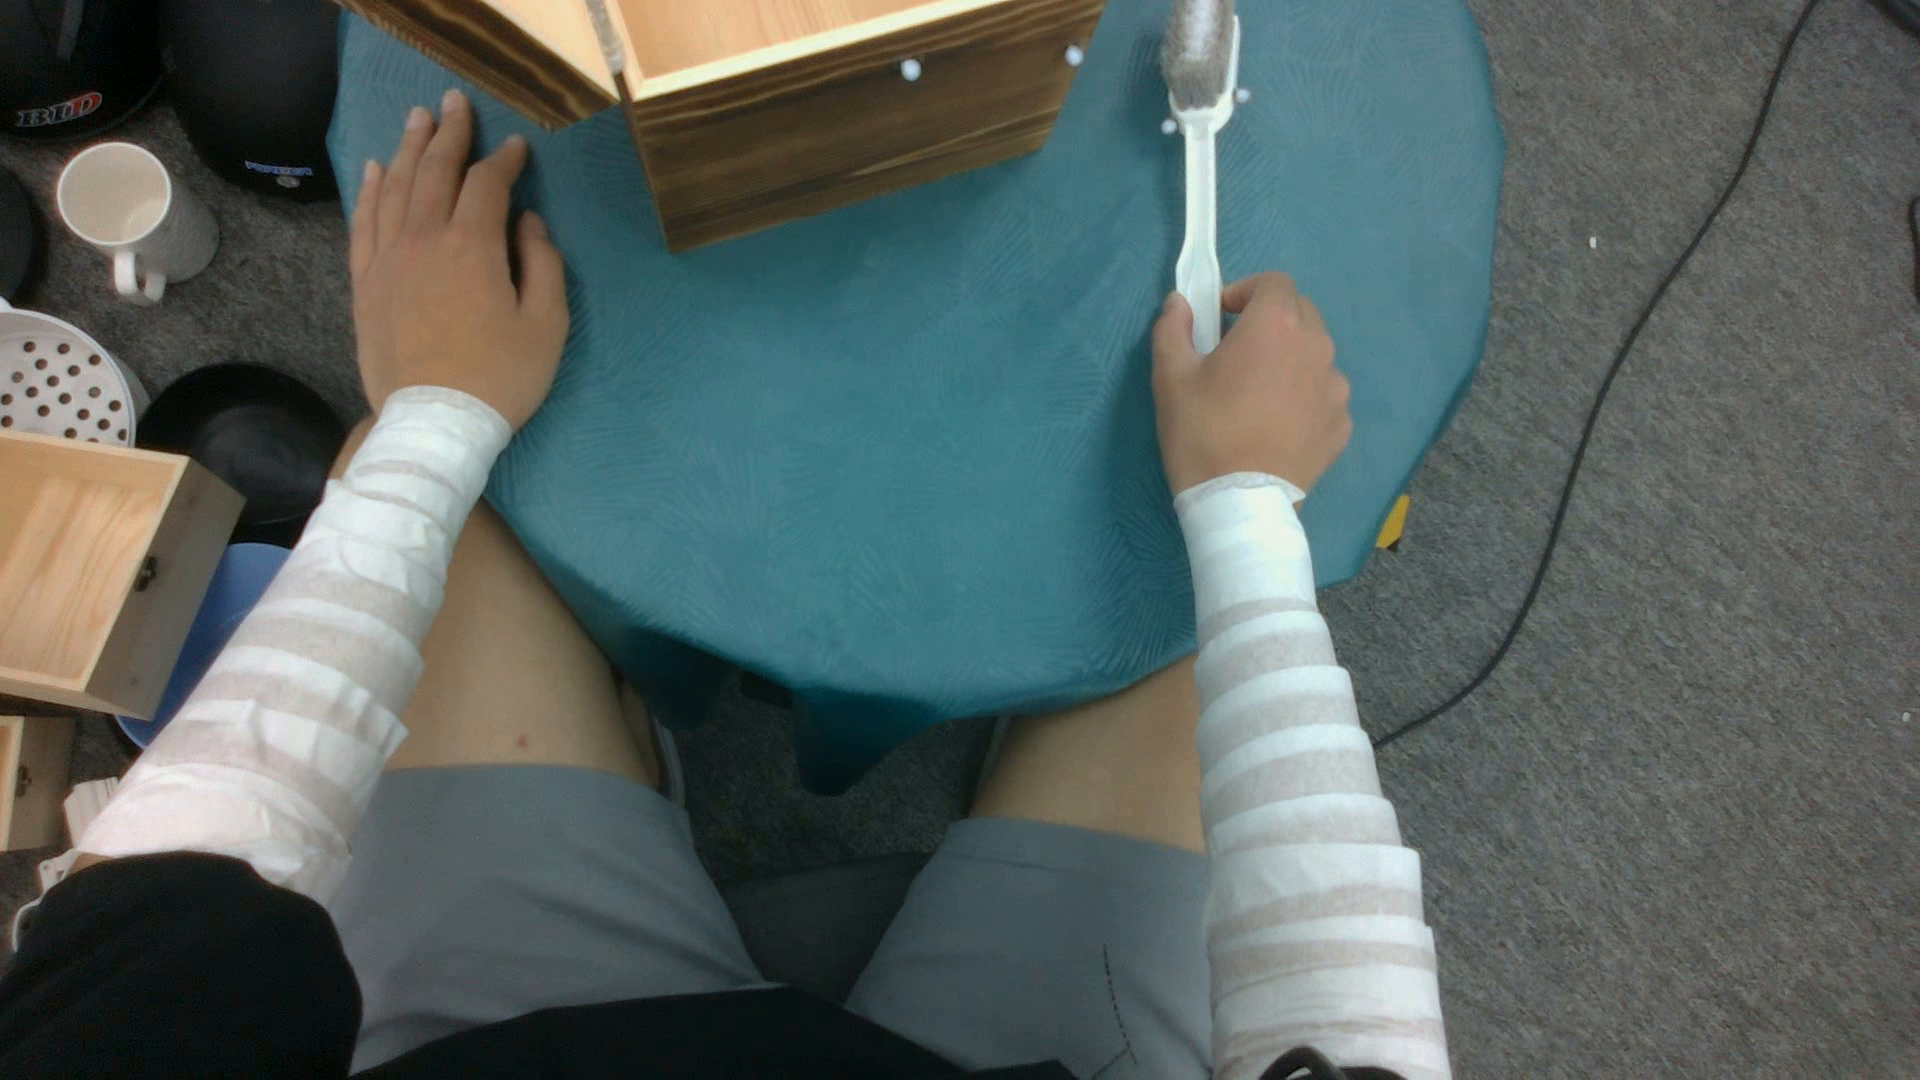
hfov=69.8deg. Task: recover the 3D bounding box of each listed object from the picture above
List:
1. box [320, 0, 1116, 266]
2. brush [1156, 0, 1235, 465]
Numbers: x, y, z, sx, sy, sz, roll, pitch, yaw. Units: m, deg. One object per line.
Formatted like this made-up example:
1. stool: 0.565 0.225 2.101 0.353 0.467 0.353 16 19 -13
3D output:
1. box: -0.108 -0.268 0.538 0.322 0.374 0.209 -19 85 -10
2. brush: 0.117 -0.162 0.709 0.034 0.050 0.244 2 82 19
